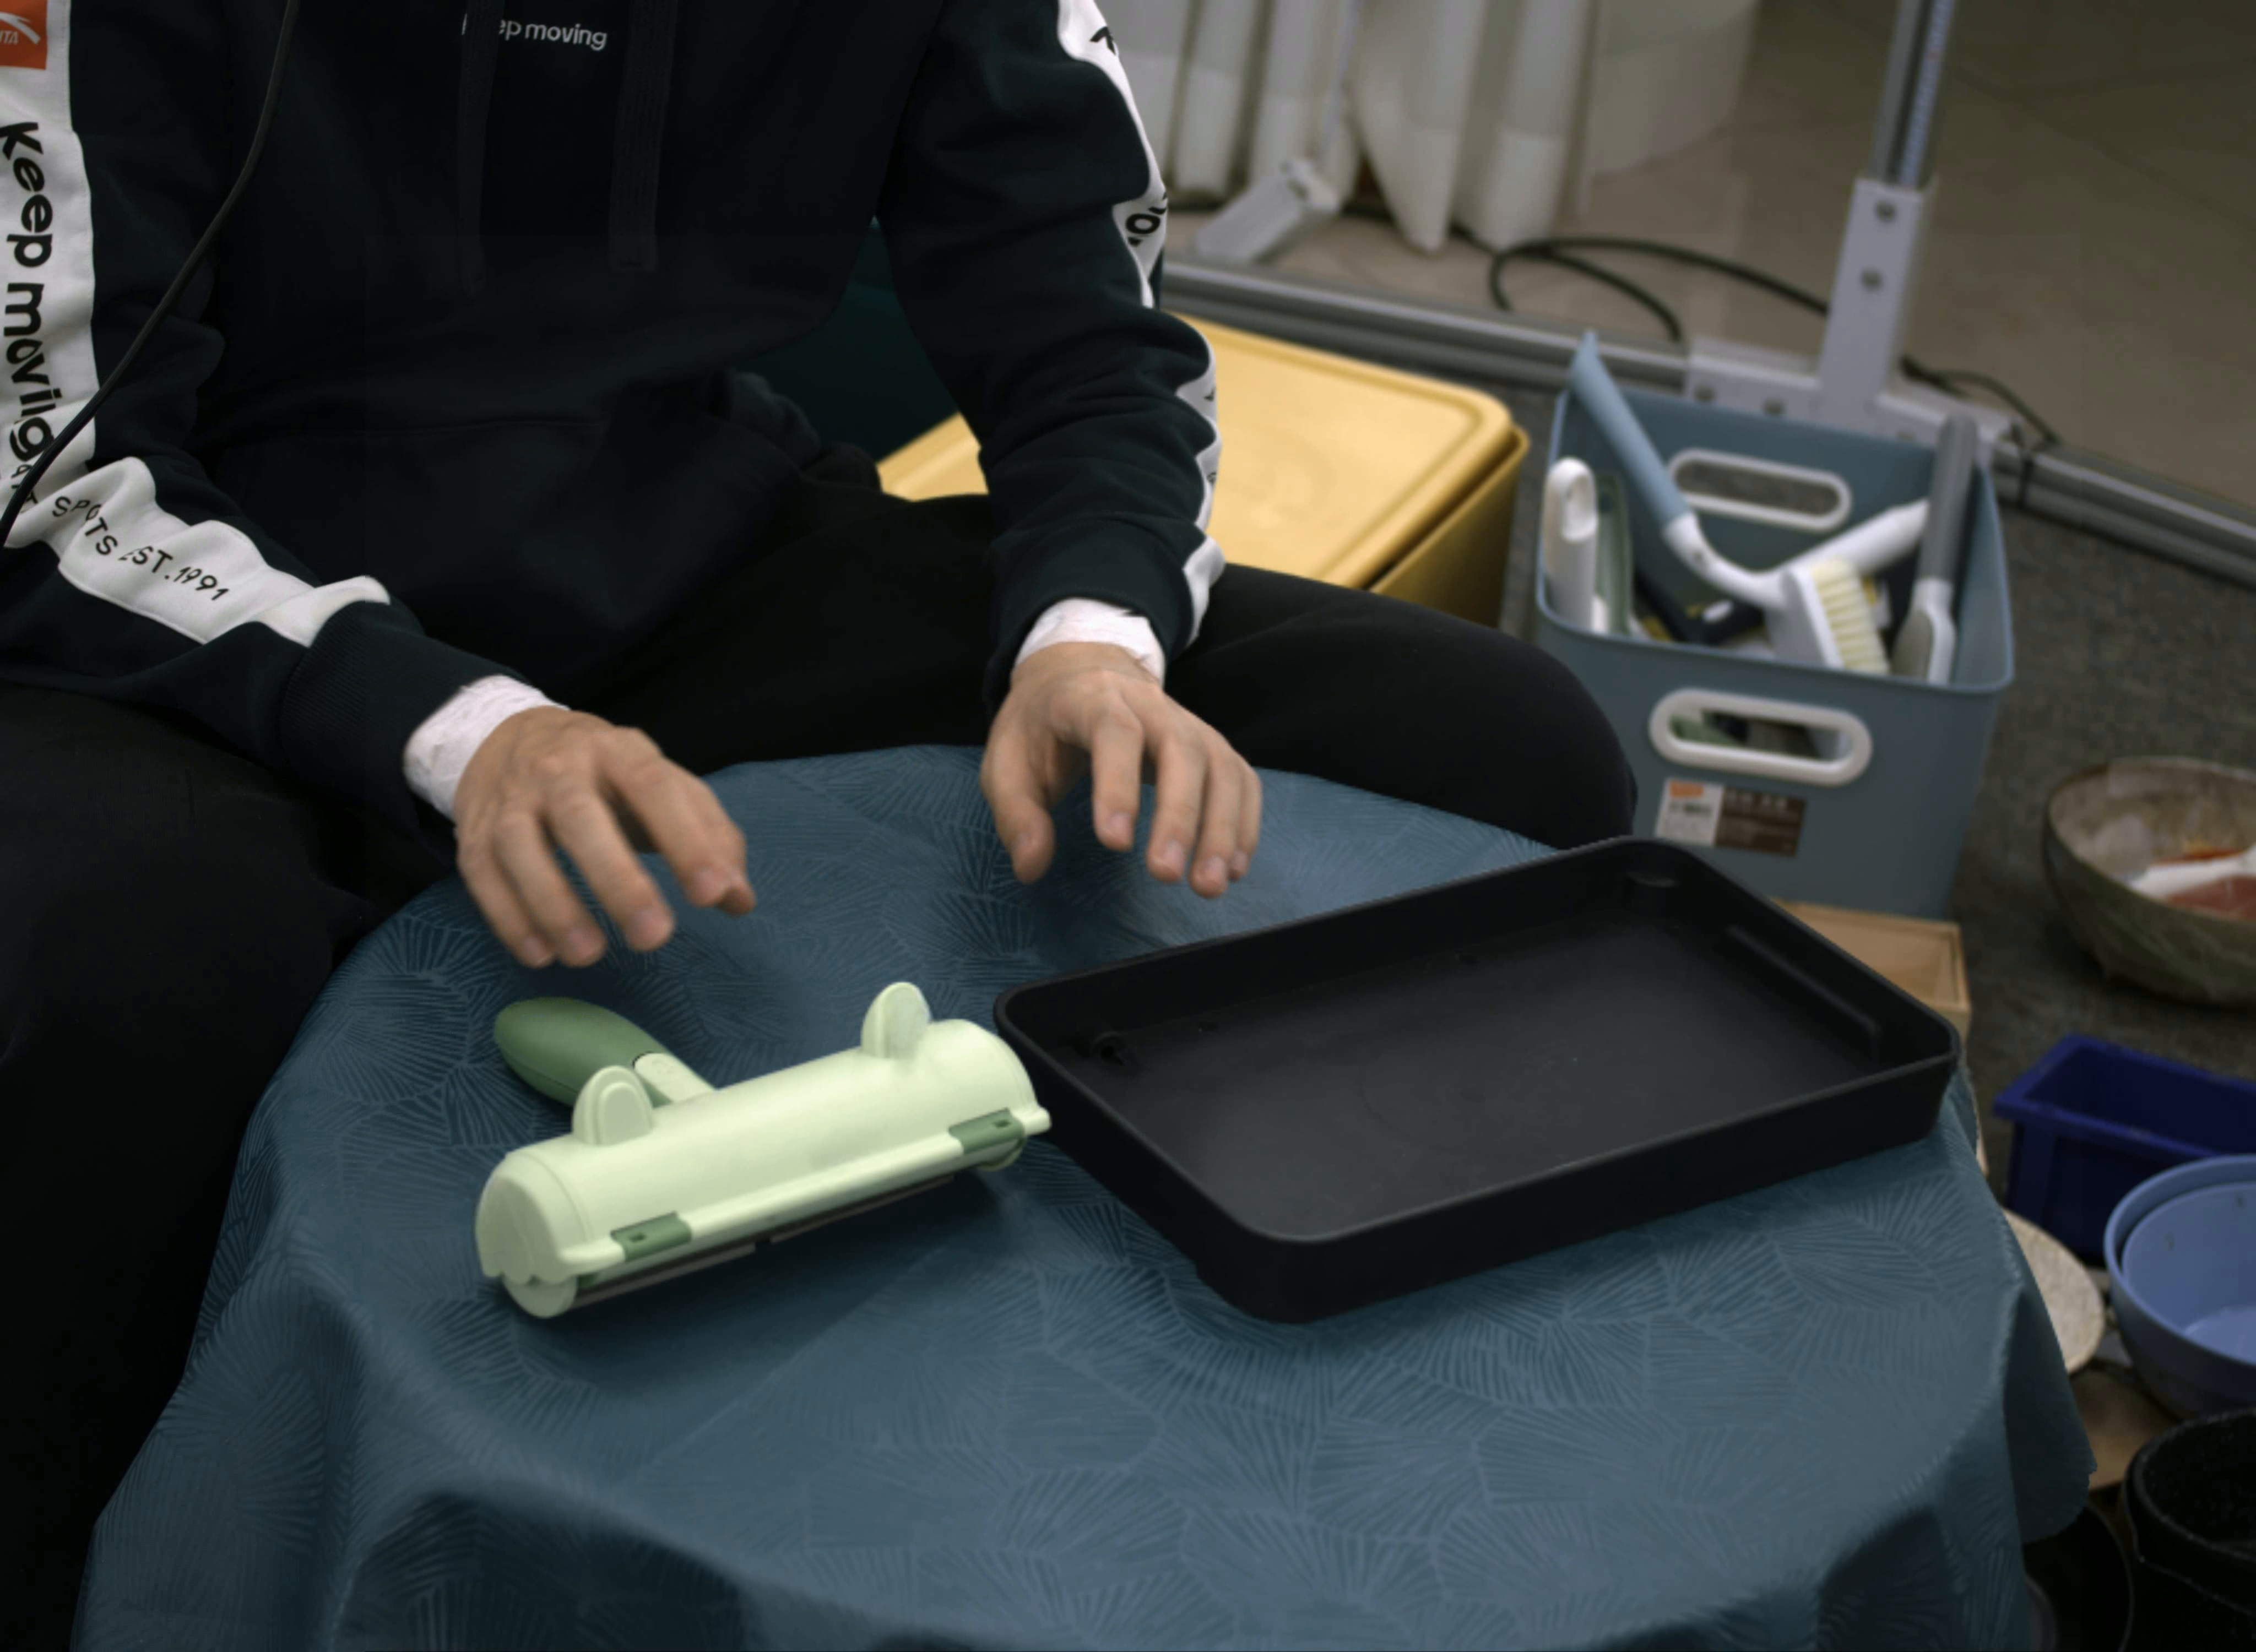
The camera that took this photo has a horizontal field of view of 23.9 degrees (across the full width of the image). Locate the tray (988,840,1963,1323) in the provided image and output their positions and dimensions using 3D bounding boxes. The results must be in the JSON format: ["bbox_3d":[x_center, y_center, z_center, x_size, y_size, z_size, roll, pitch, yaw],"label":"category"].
[{"bbox_3d":[0.122,0.084,1.864,0.316,0.037,0.186,-12,32,-32],"label":"tray"}]

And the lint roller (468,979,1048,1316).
[{"bbox_3d":[-0.154,0.079,1.765,0.197,0.082,0.185,-15,37,-36],"label":"lint roller"}]
